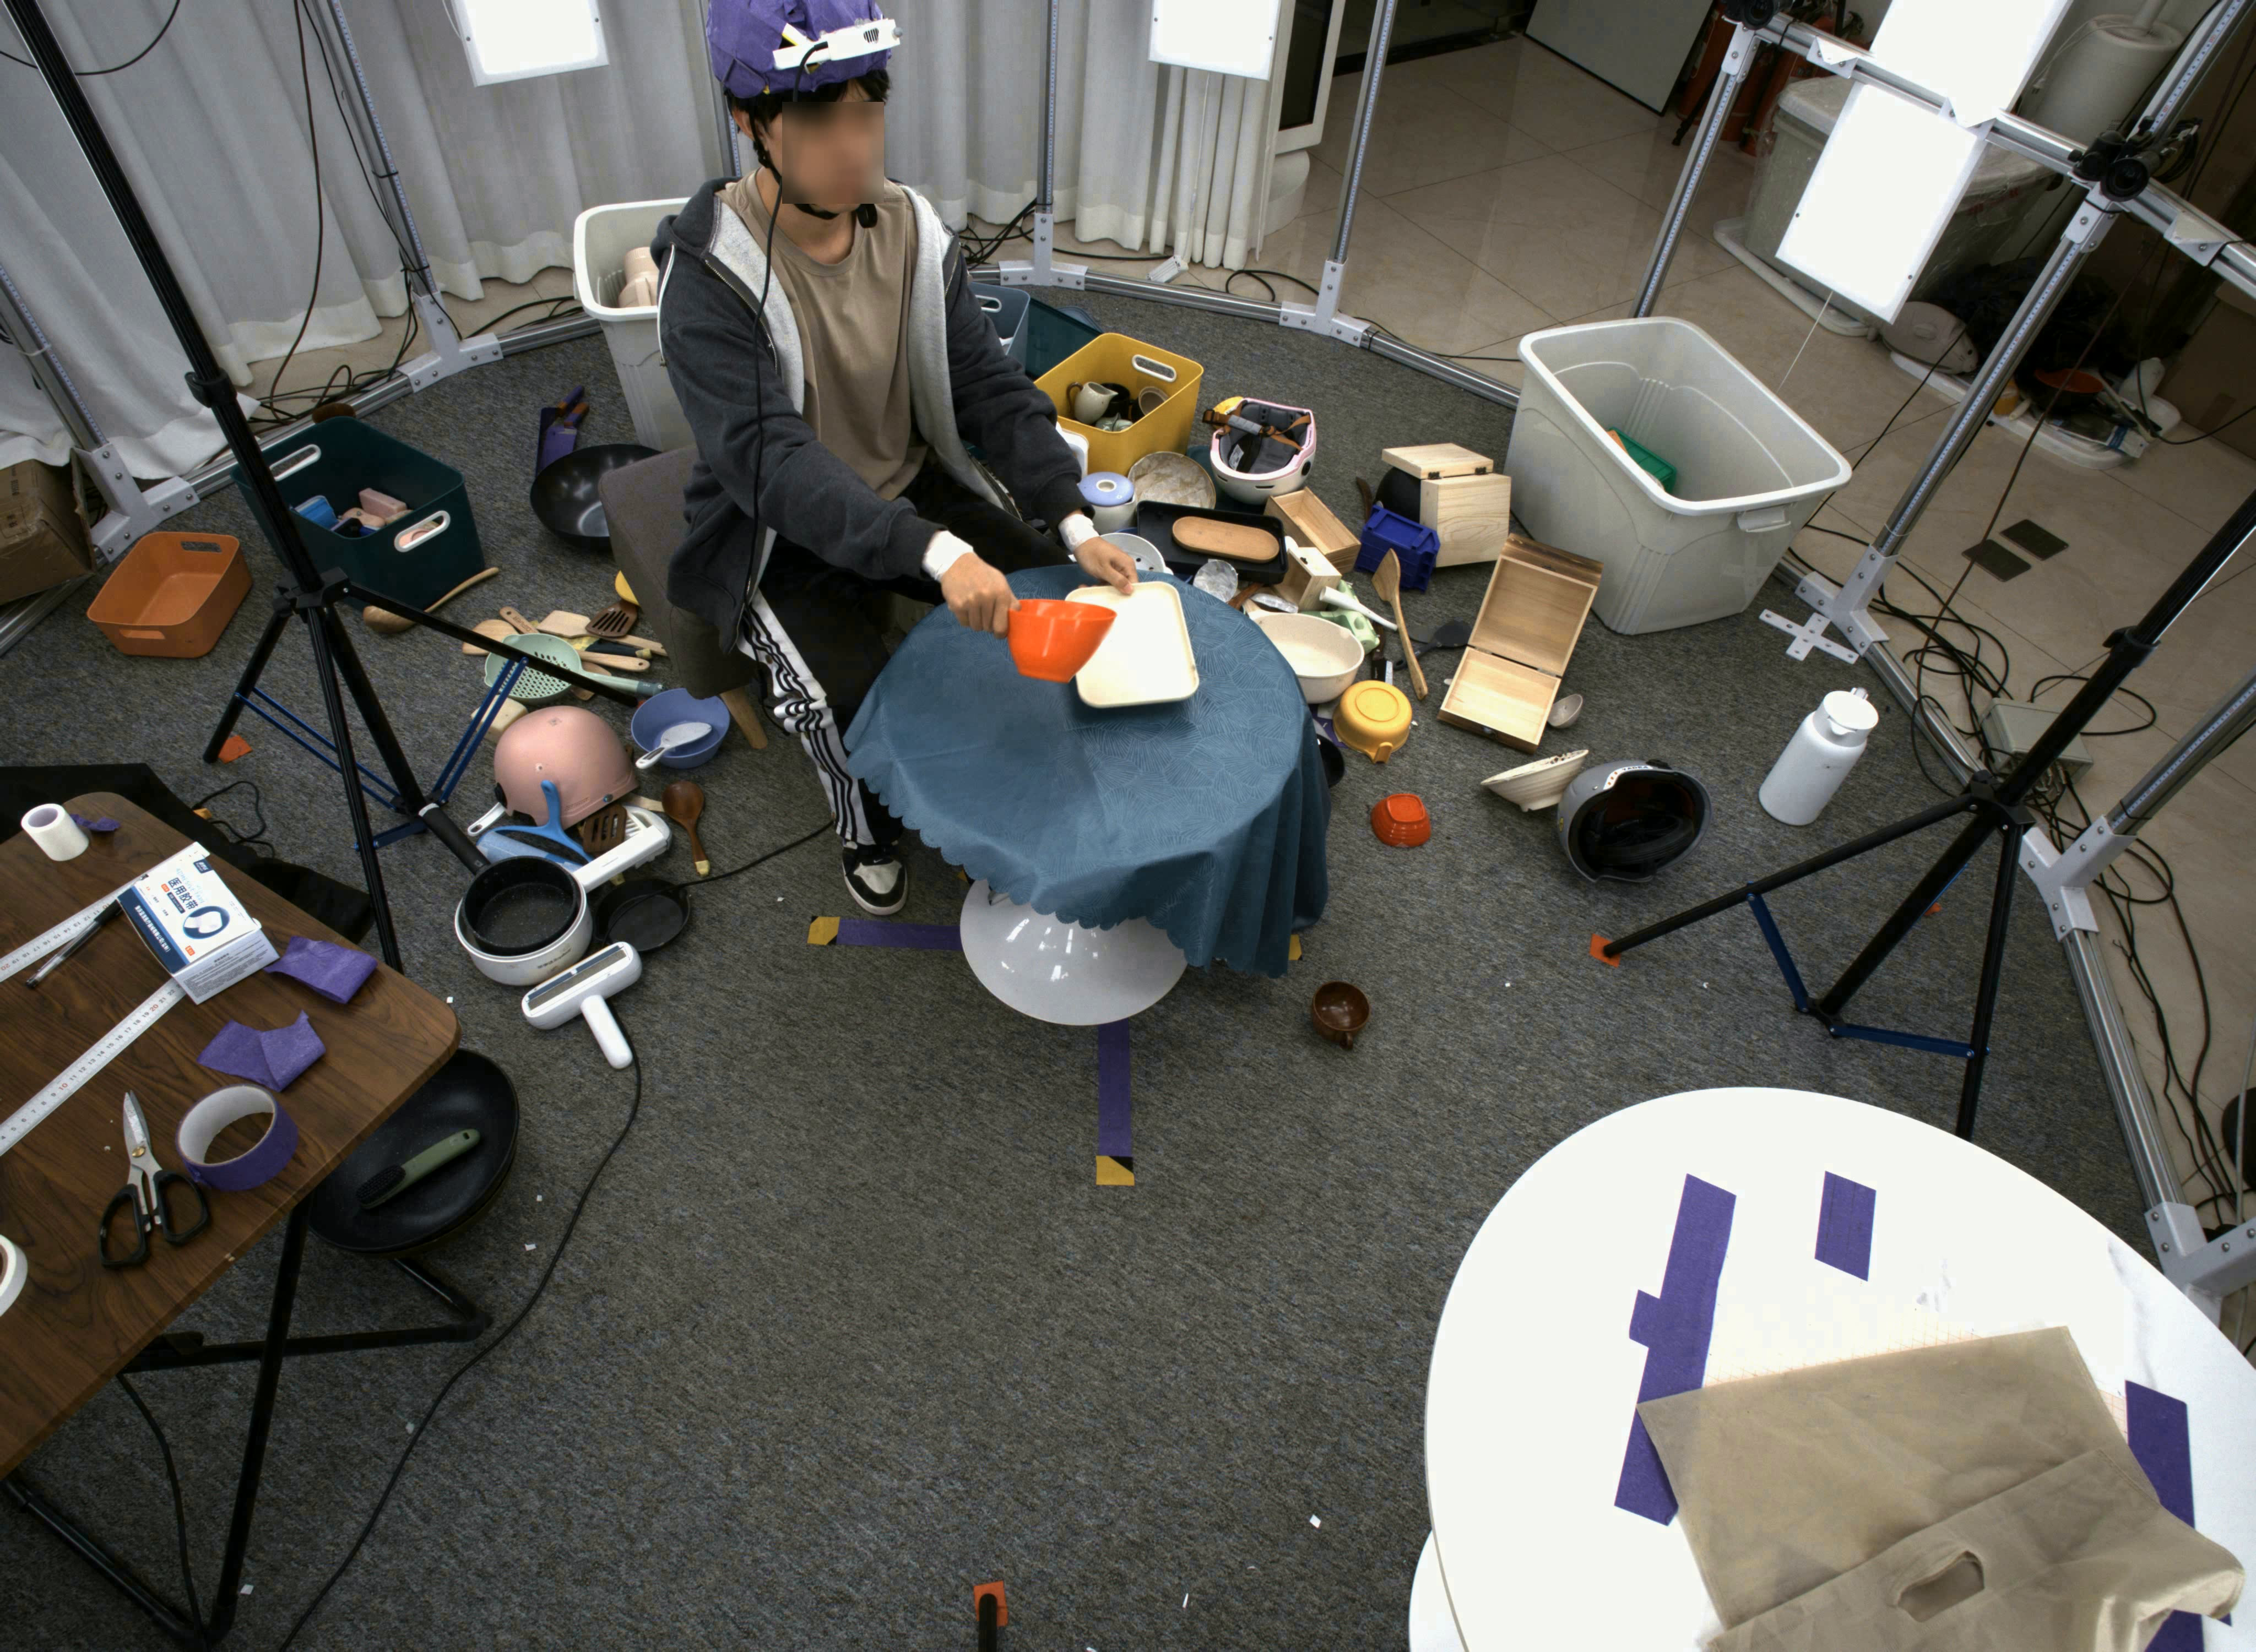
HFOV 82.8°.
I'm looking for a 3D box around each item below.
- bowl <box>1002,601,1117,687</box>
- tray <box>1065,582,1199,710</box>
[{"bbox_3d":[-0.096,-0.238,1.669,0.148,0.104,0.149,11,10,-2],"label":"bowl"},{"bbox_3d":[0.003,-0.260,1.845,0.171,0.017,0.246,-6,51,-4],"label":"tray"}]
